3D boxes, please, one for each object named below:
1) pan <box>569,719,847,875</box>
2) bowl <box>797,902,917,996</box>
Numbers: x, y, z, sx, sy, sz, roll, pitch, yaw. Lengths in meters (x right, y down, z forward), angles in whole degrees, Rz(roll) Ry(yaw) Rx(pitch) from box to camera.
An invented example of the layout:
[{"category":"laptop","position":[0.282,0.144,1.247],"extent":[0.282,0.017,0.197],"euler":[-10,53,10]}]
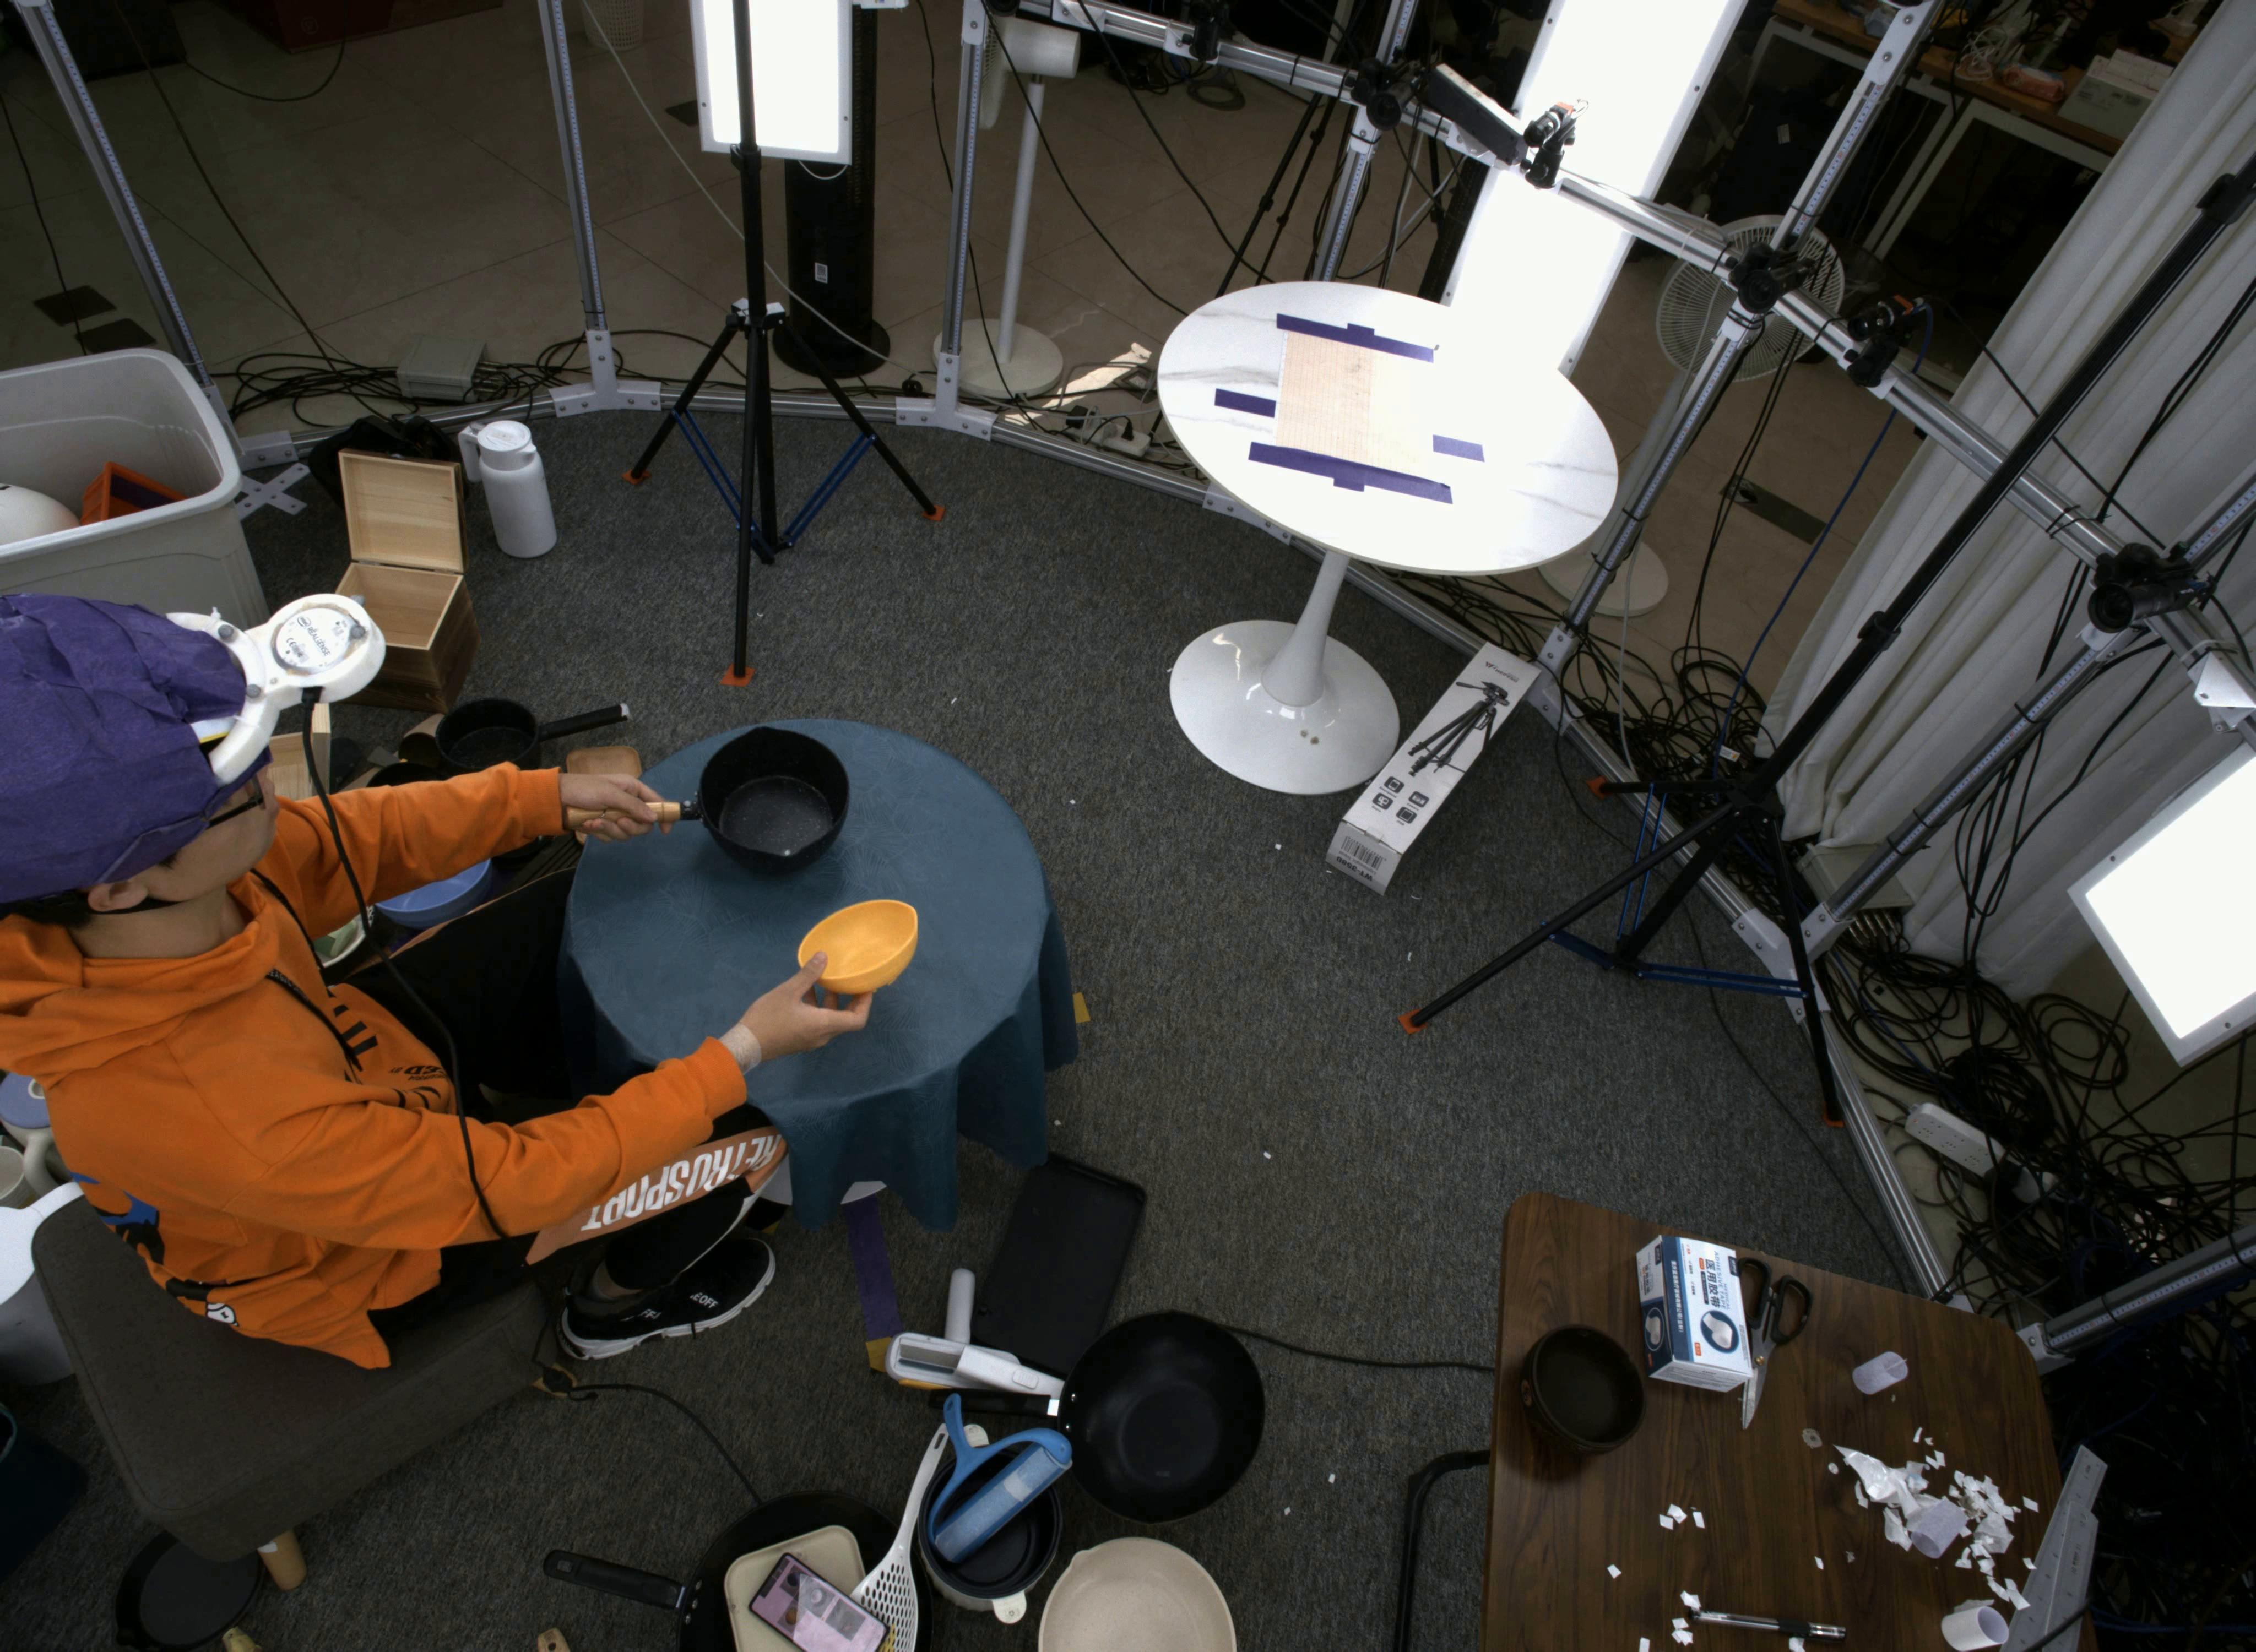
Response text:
[{"category":"pan","position":[-0.519,-0.018,1.596],"extent":[0.345,0.109,0.204],"euler":[-11,64,-23]},{"category":"bowl","position":[-0.301,0.150,1.493],"extent":[0.143,0.062,0.142],"euler":[-13,29,9]}]
